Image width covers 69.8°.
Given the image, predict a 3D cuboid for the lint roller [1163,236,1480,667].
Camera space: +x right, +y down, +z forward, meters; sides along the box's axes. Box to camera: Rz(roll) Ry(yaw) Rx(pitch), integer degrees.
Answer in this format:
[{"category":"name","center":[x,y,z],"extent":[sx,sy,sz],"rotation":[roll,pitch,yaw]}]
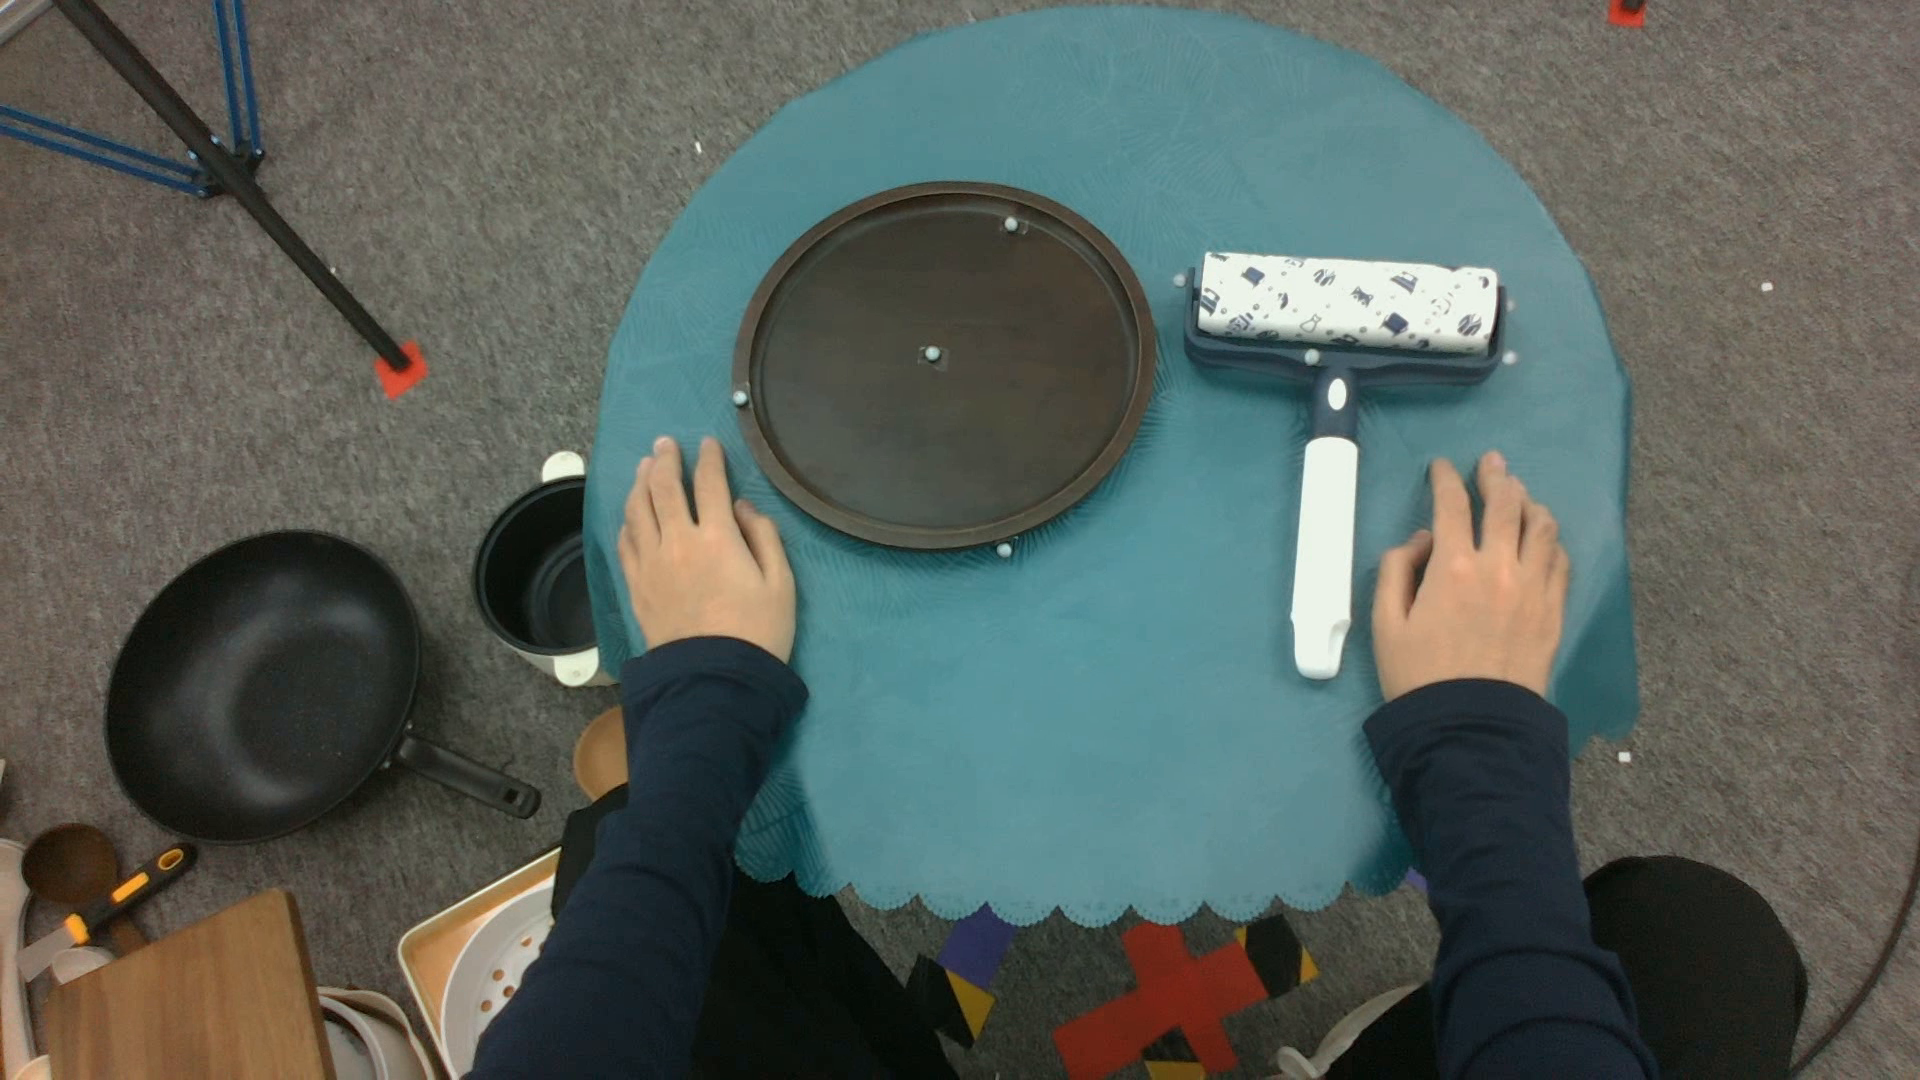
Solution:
[{"category":"lint roller","center":[0.194,-0.053,0.759],"extent":[0.176,0.050,0.248],"rotation":[6,69,6]}]

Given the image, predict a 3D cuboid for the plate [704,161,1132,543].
[{"category":"plate","center":[-0.025,-0.114,0.817],"extent":[0.254,0.029,0.255],"rotation":[-2,68,5]}]
